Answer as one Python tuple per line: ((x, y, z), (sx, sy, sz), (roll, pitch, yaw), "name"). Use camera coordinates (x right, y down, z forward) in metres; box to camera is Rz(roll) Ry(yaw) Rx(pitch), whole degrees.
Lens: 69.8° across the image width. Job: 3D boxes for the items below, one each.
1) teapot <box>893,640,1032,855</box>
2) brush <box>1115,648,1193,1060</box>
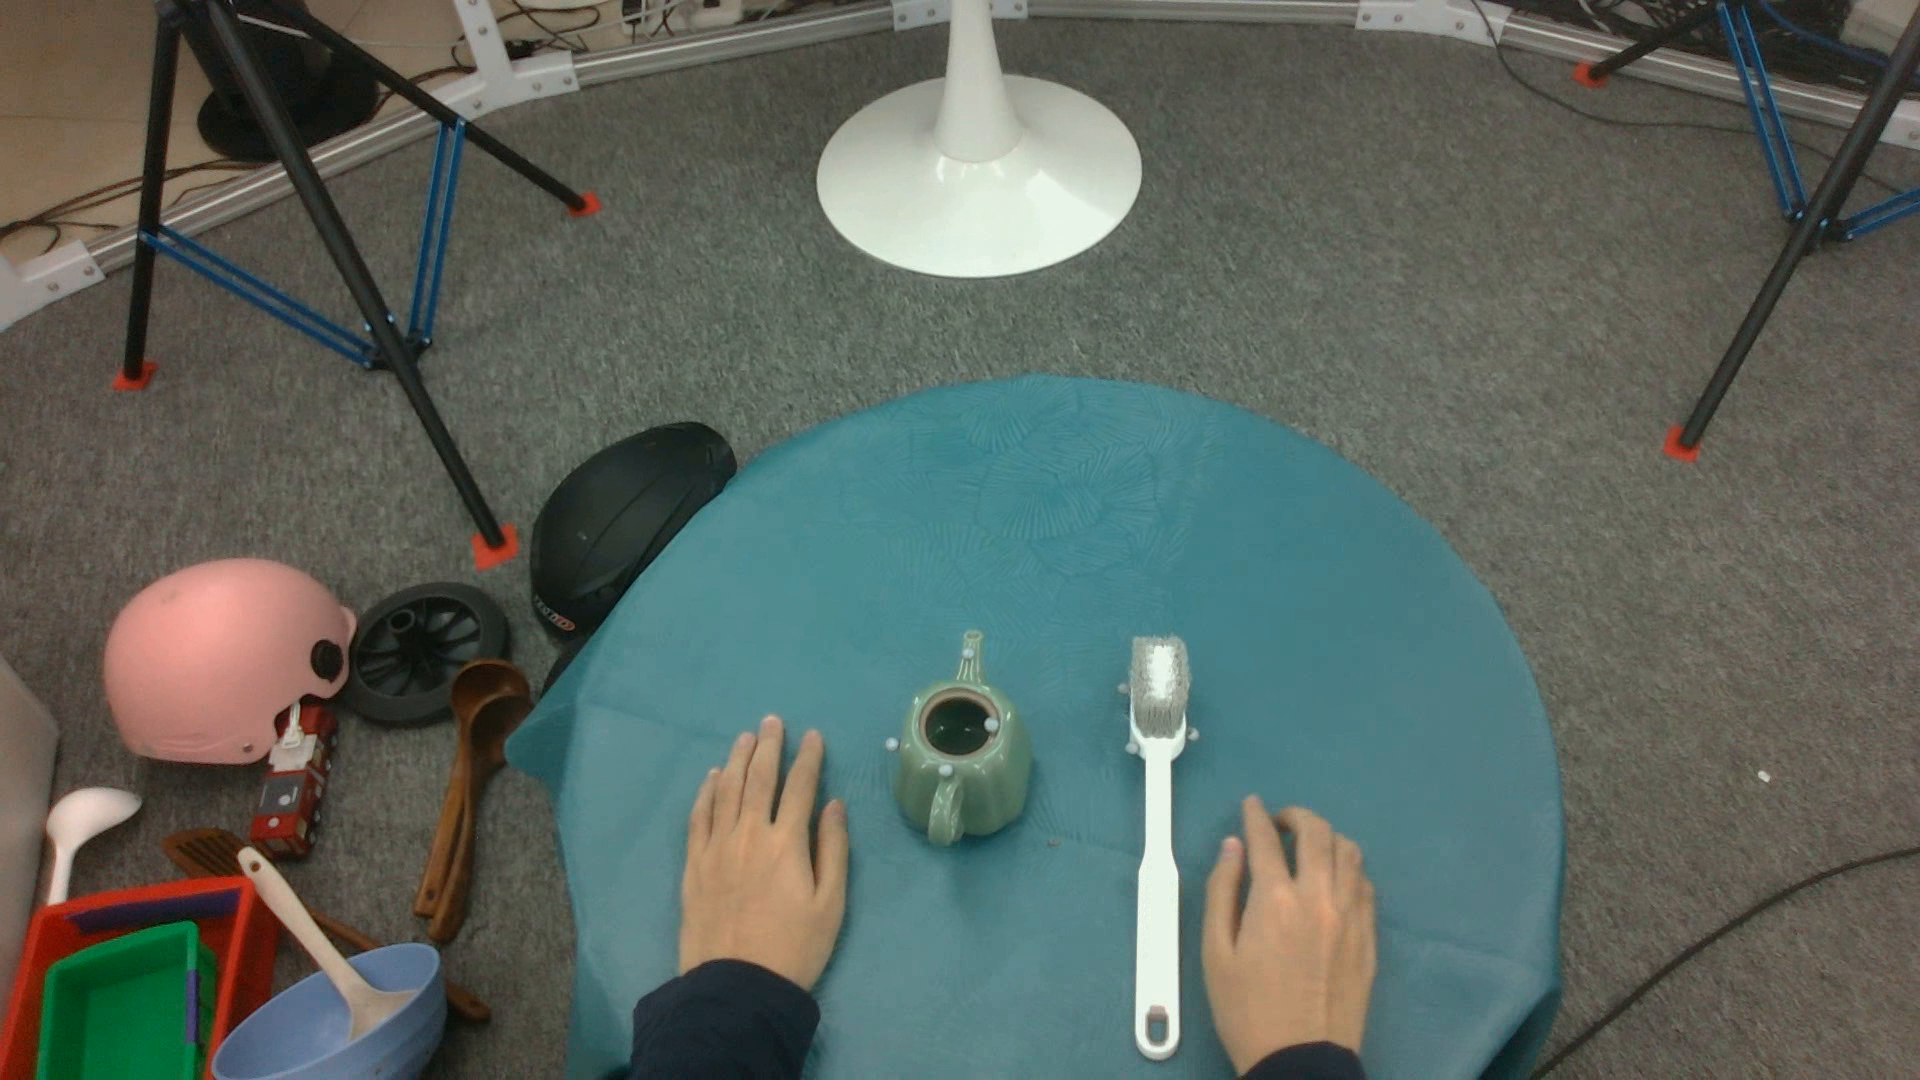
((0.001, 0.130, 0.805), (0.079, 0.075, 0.133), (5, 52, 7), "teapot")
((0.110, 0.167, 0.786), (0.034, 0.050, 0.245), (7, 52, 5), "brush")
